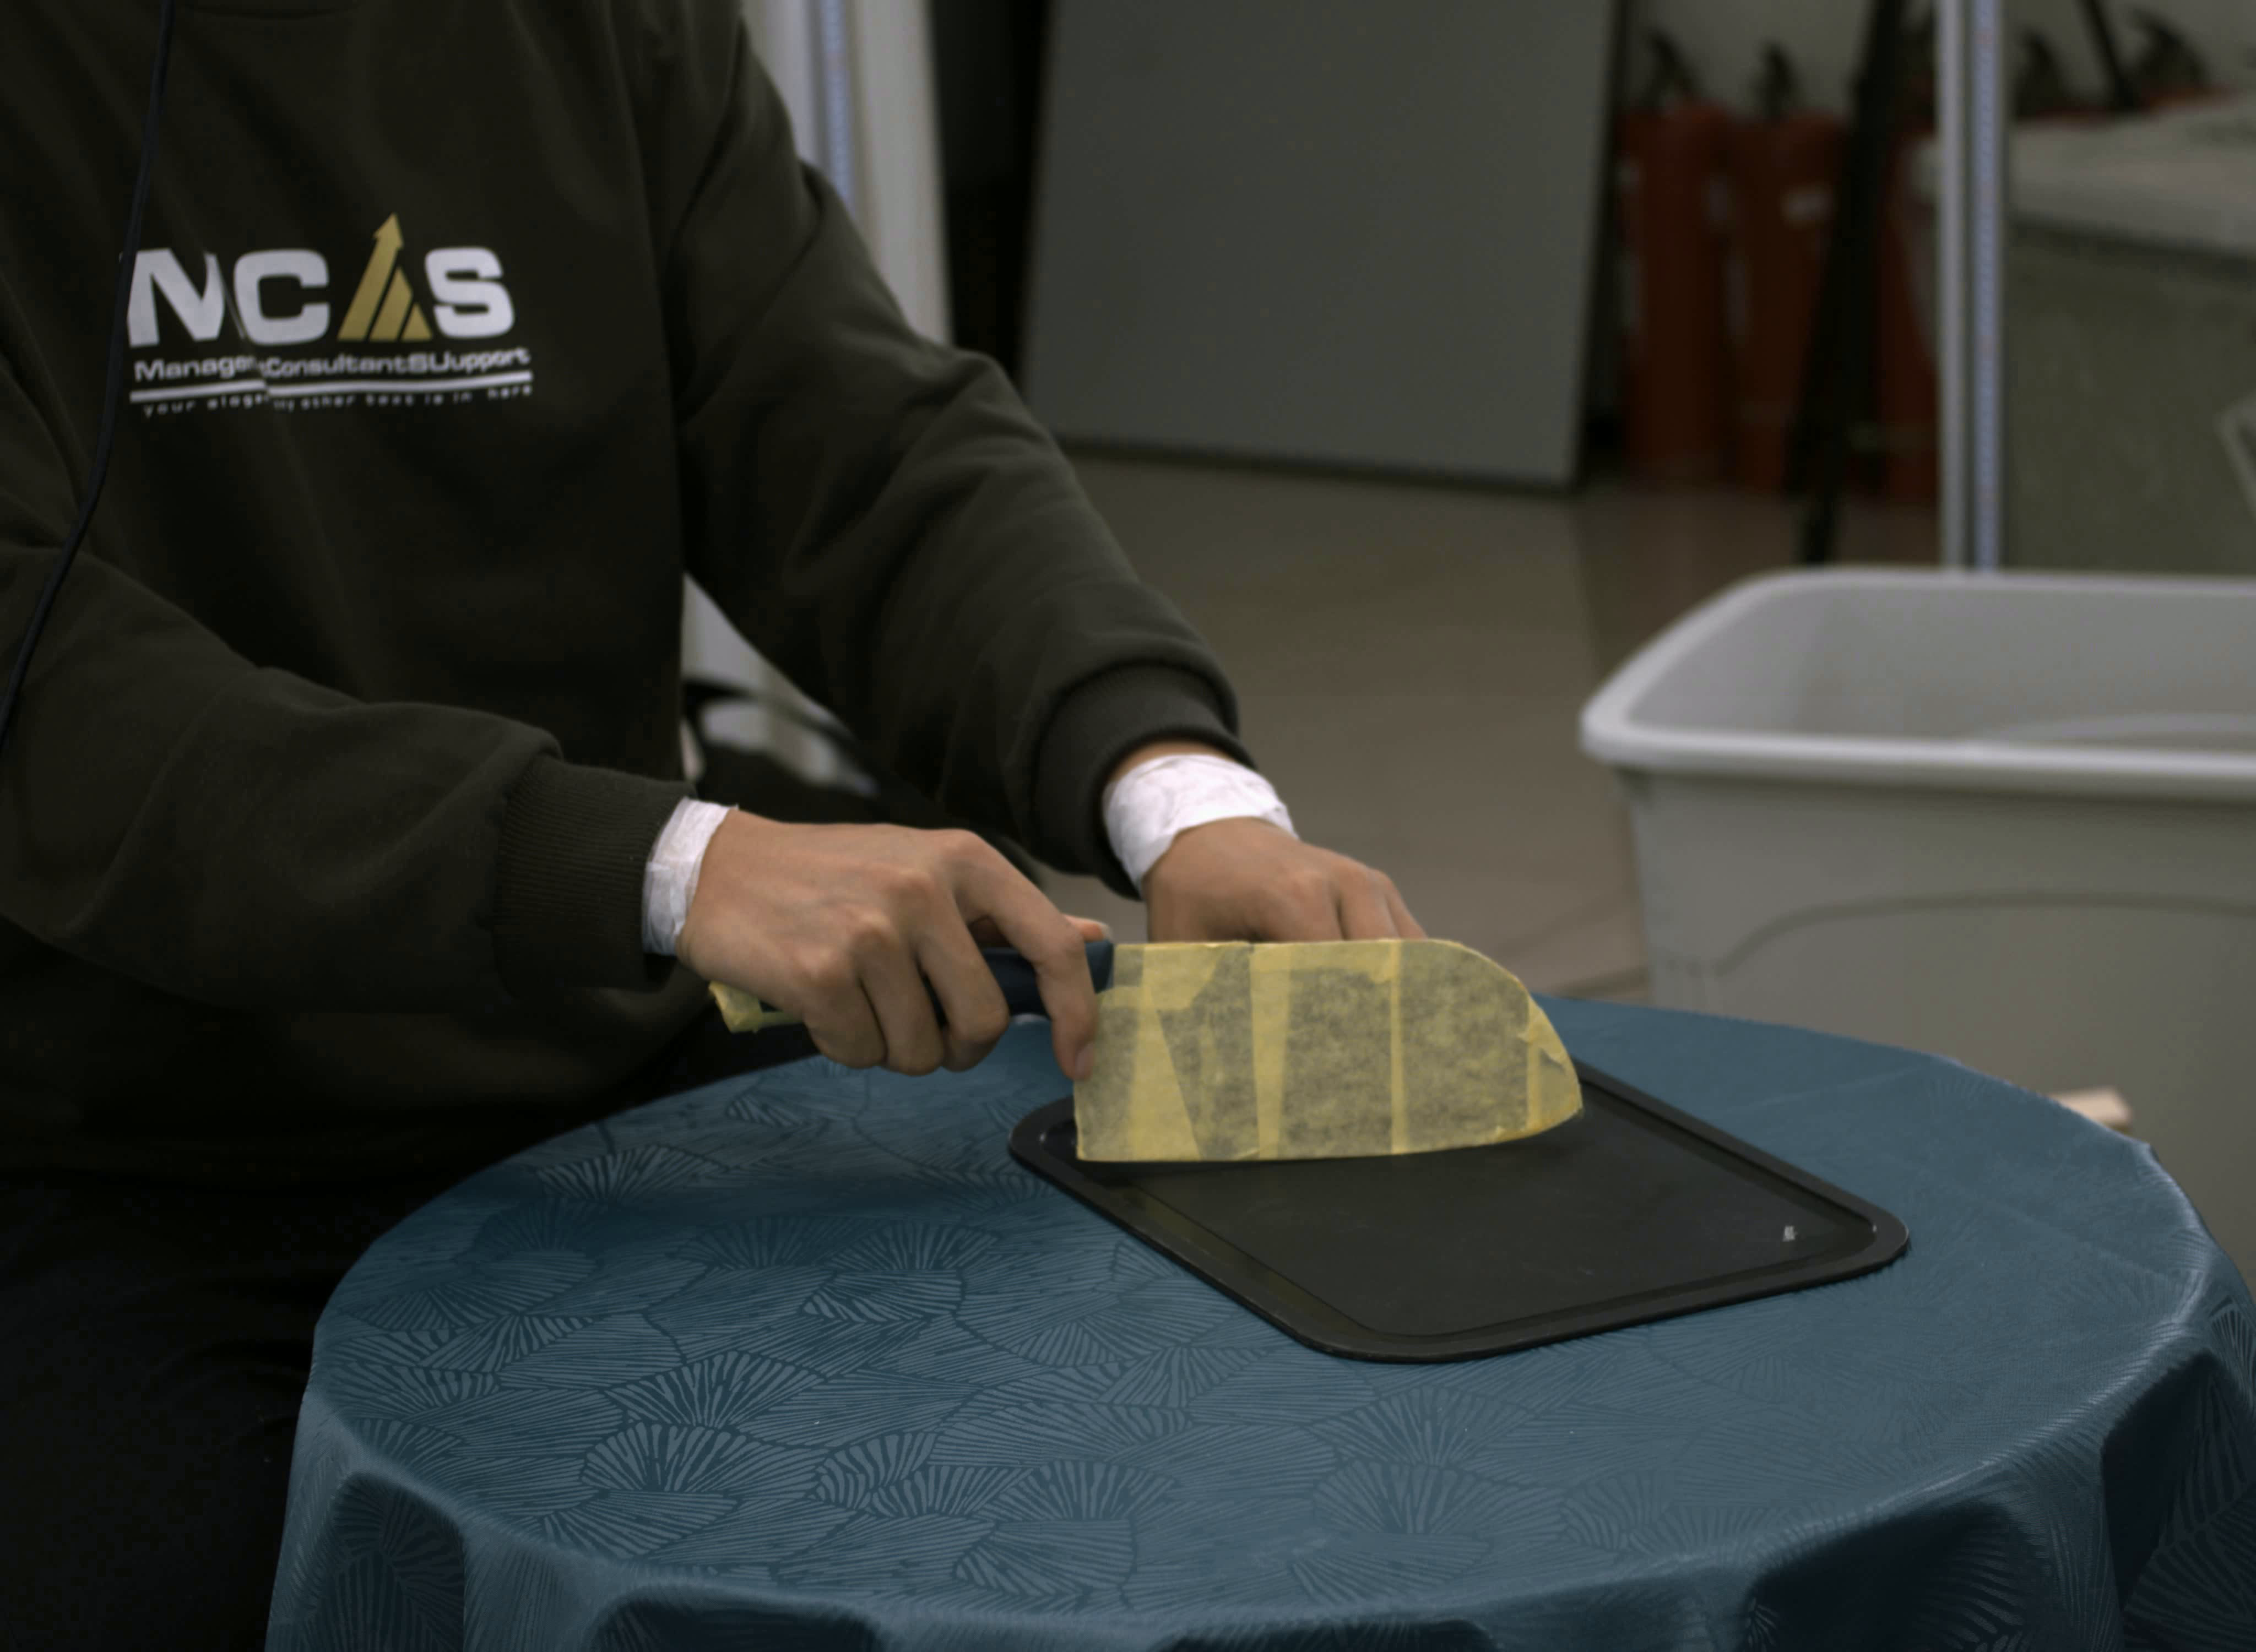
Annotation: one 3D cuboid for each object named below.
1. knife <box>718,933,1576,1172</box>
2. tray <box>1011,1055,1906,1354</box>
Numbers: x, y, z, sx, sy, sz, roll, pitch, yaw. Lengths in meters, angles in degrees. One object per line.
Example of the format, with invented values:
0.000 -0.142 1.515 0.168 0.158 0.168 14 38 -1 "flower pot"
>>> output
0.007 0.075 1.788 0.286 0.082 0.027 1 -5 2 "knife"
0.097 0.114 1.759 0.206 0.010 0.328 -10 15 -22 "tray"
